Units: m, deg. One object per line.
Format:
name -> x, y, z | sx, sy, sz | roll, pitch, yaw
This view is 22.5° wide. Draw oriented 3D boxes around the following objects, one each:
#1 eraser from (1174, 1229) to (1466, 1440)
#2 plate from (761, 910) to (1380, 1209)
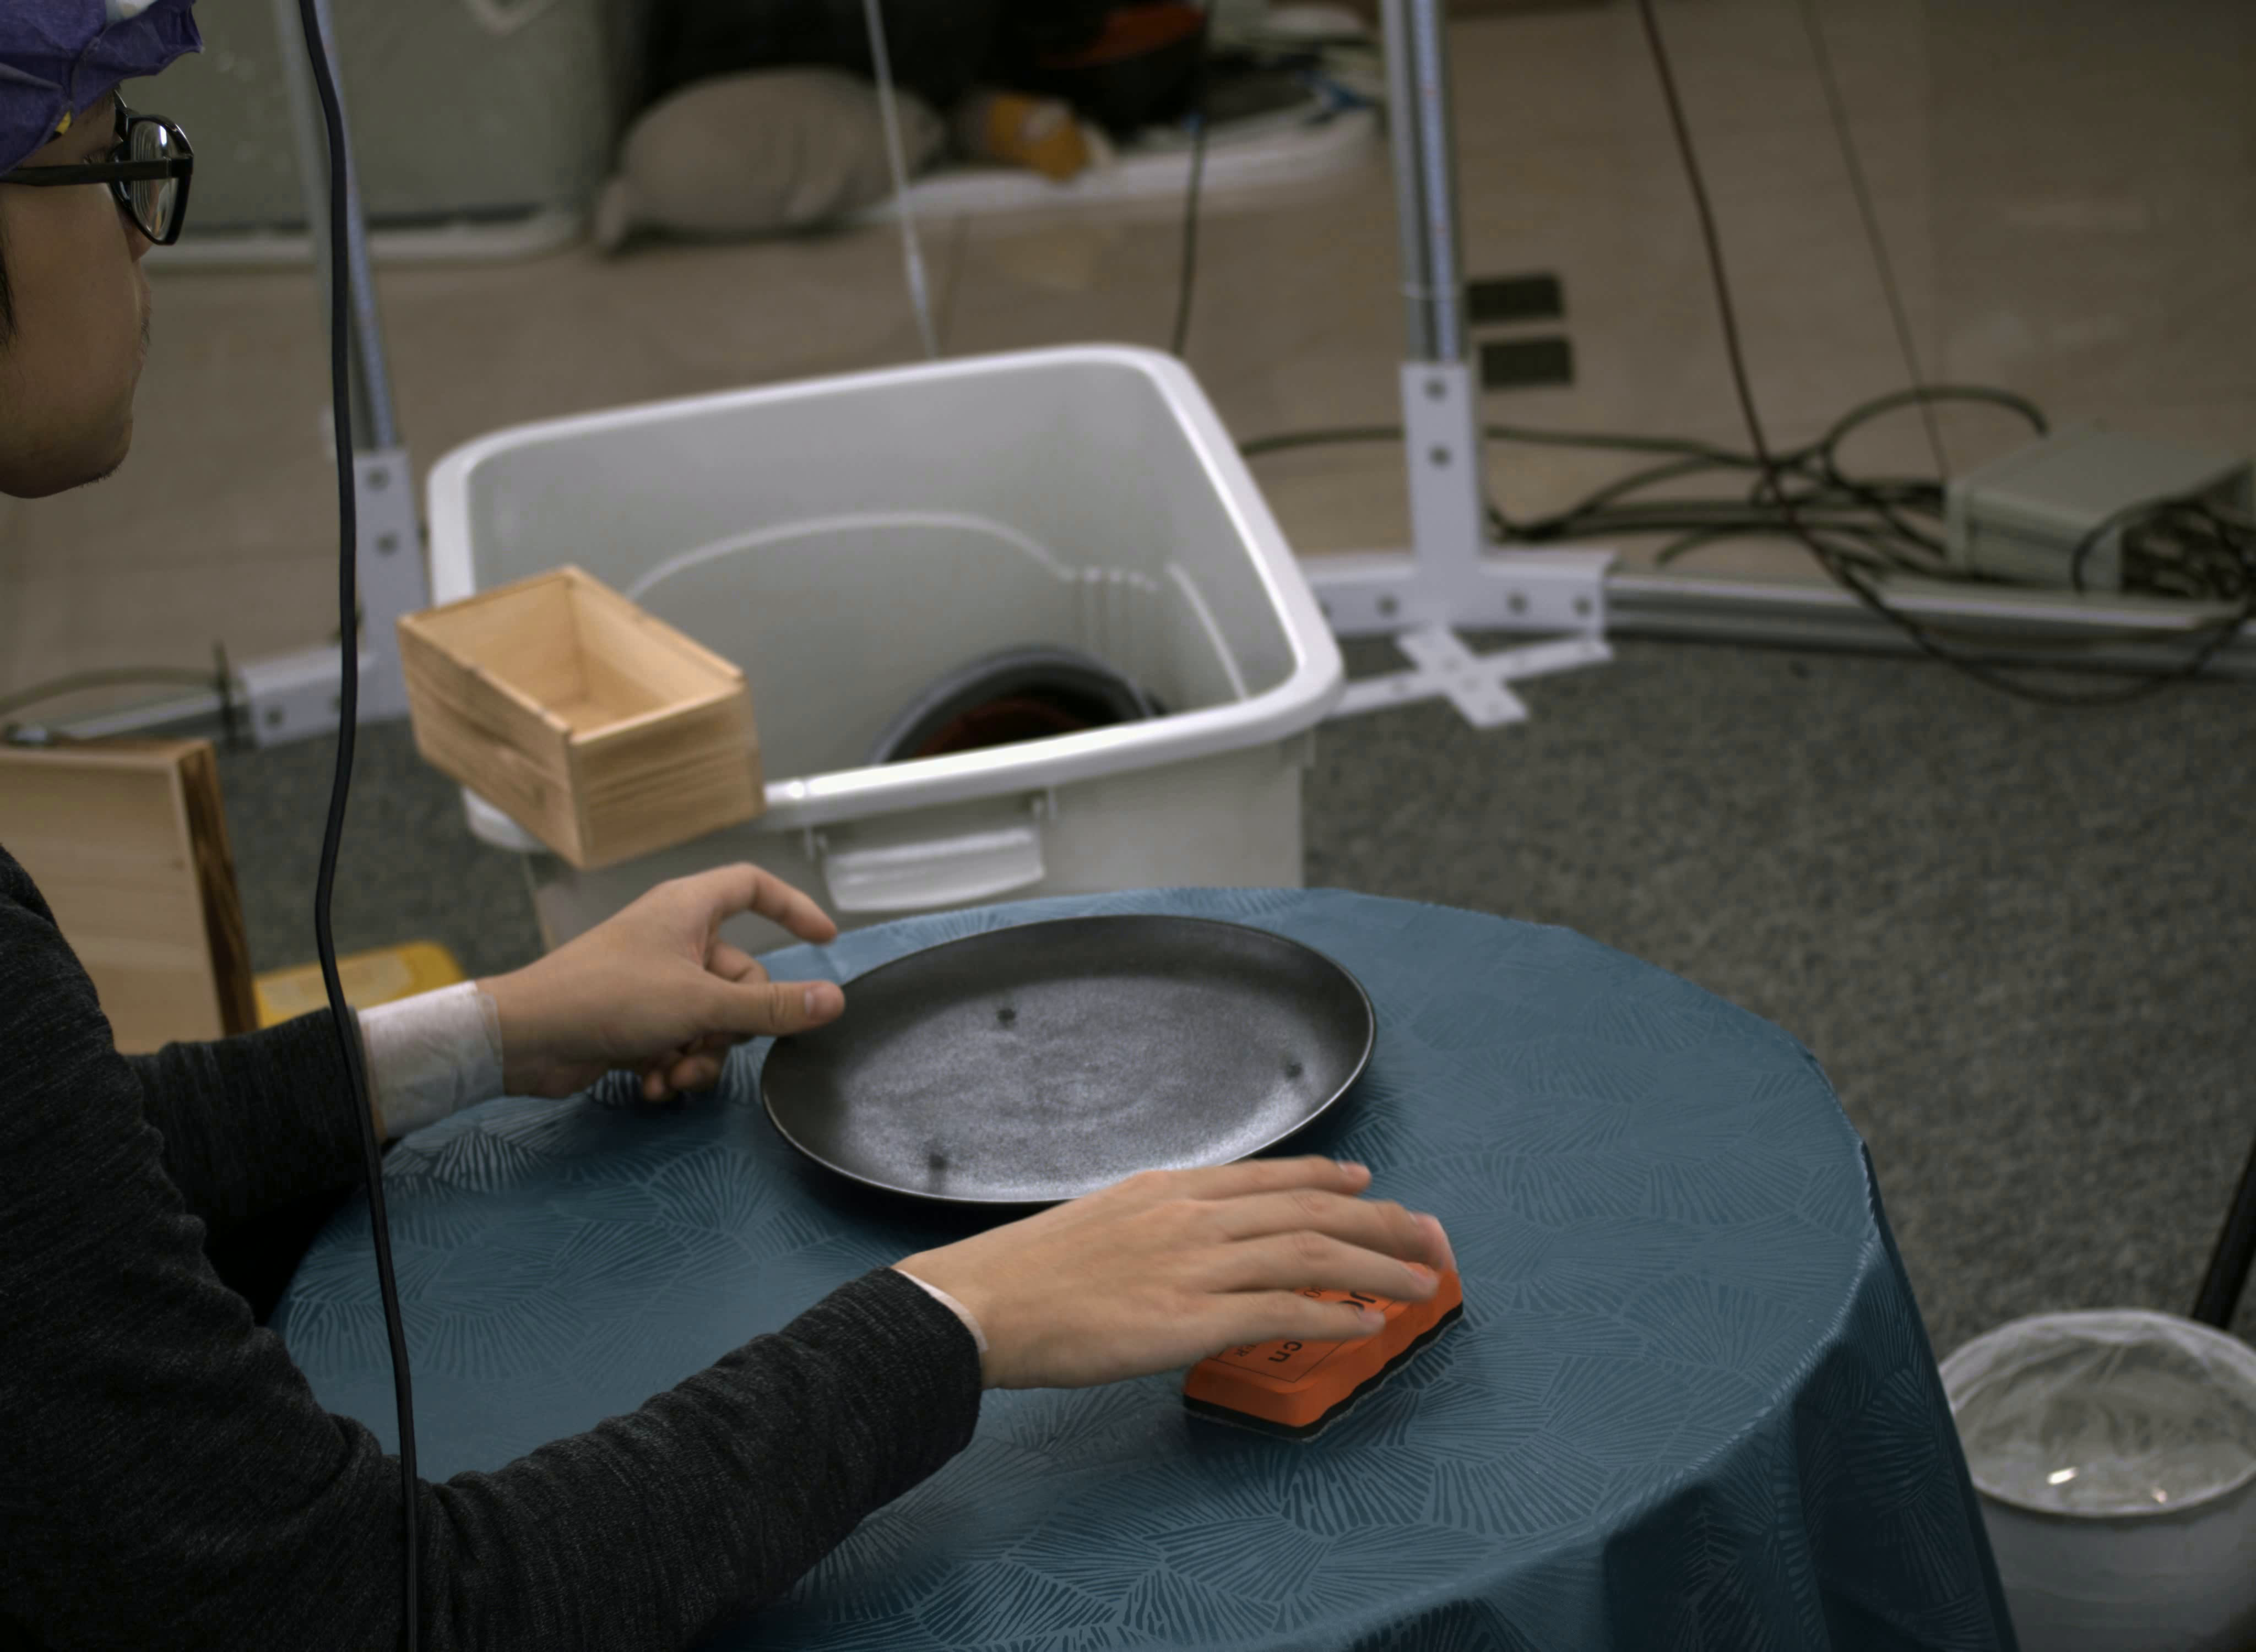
eraser -> 0.068, 0.180, 2.015 | 0.058, 0.023, 0.107 | 13, 31, 37
plate -> -0.022, 0.096, 2.217 | 0.244, 0.024, 0.241 | -5, 25, 3
